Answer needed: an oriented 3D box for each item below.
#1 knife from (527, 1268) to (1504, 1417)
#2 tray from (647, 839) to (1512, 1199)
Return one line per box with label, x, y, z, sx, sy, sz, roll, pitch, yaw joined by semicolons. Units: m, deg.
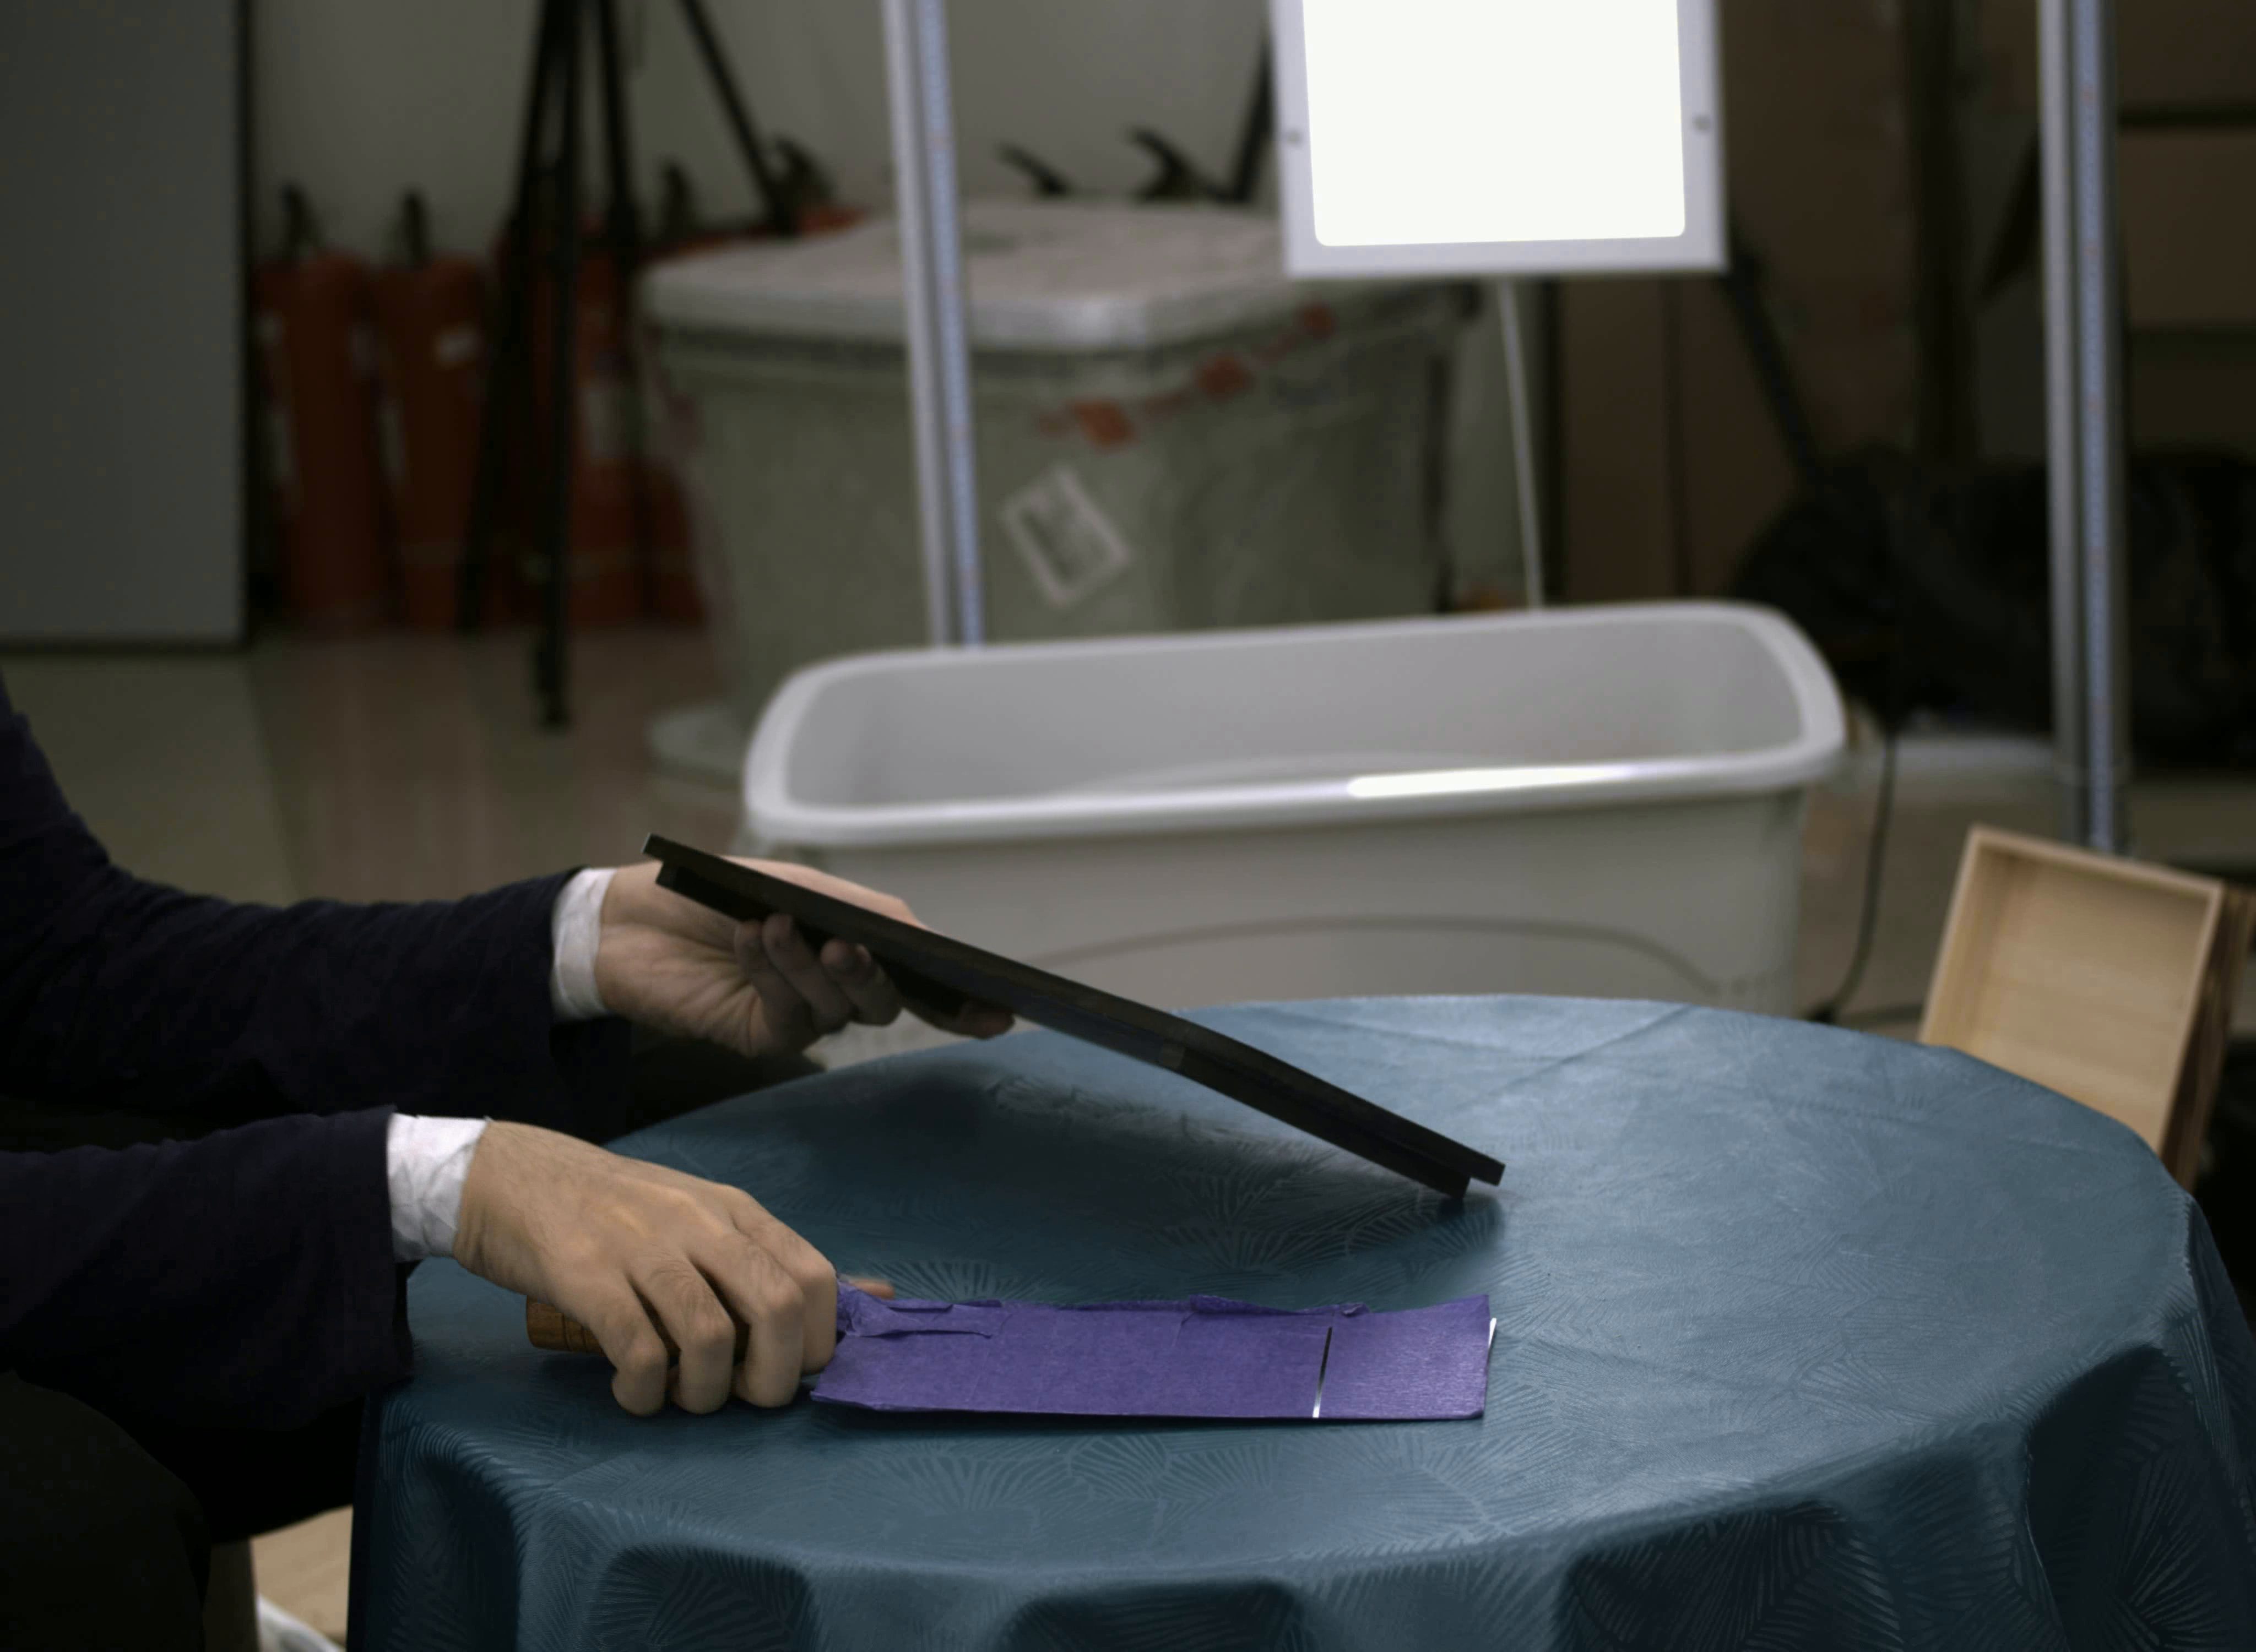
knife;-0.040;0.161;1.720;0.317;0.032;0.103;-2;14;10
tray;-0.022;0.067;1.917;0.166;0.018;0.312;26;-6;-43
